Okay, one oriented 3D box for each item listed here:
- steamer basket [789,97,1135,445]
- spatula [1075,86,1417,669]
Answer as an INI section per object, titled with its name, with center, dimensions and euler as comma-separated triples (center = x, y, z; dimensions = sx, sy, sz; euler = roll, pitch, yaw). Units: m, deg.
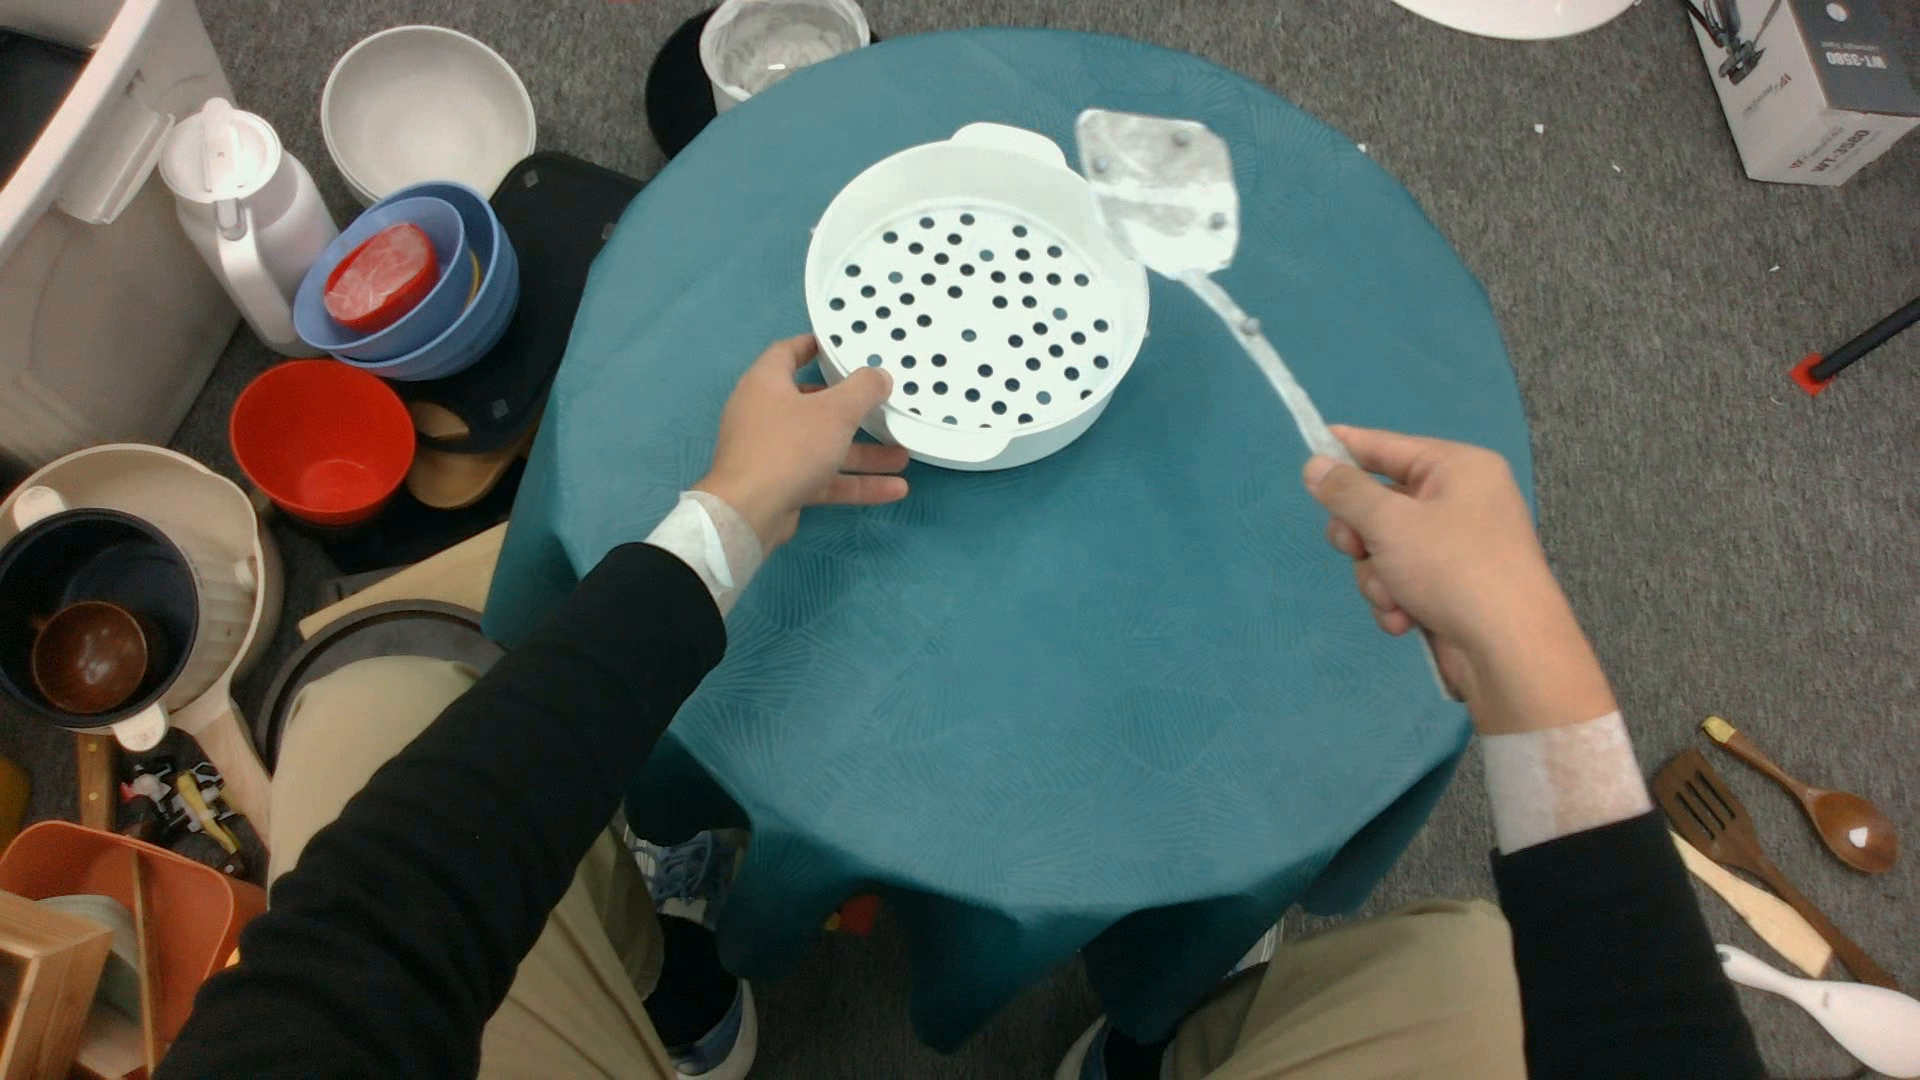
[steamer basket]
center = 0.000, -0.154, 0.825
dimensions = 0.202, 0.069, 0.231
euler = 12, 68, -1
[spatula]
center = 0.144, -0.097, 0.666
dimensions = 0.099, 0.044, 0.366
euler = 2, 48, -27
